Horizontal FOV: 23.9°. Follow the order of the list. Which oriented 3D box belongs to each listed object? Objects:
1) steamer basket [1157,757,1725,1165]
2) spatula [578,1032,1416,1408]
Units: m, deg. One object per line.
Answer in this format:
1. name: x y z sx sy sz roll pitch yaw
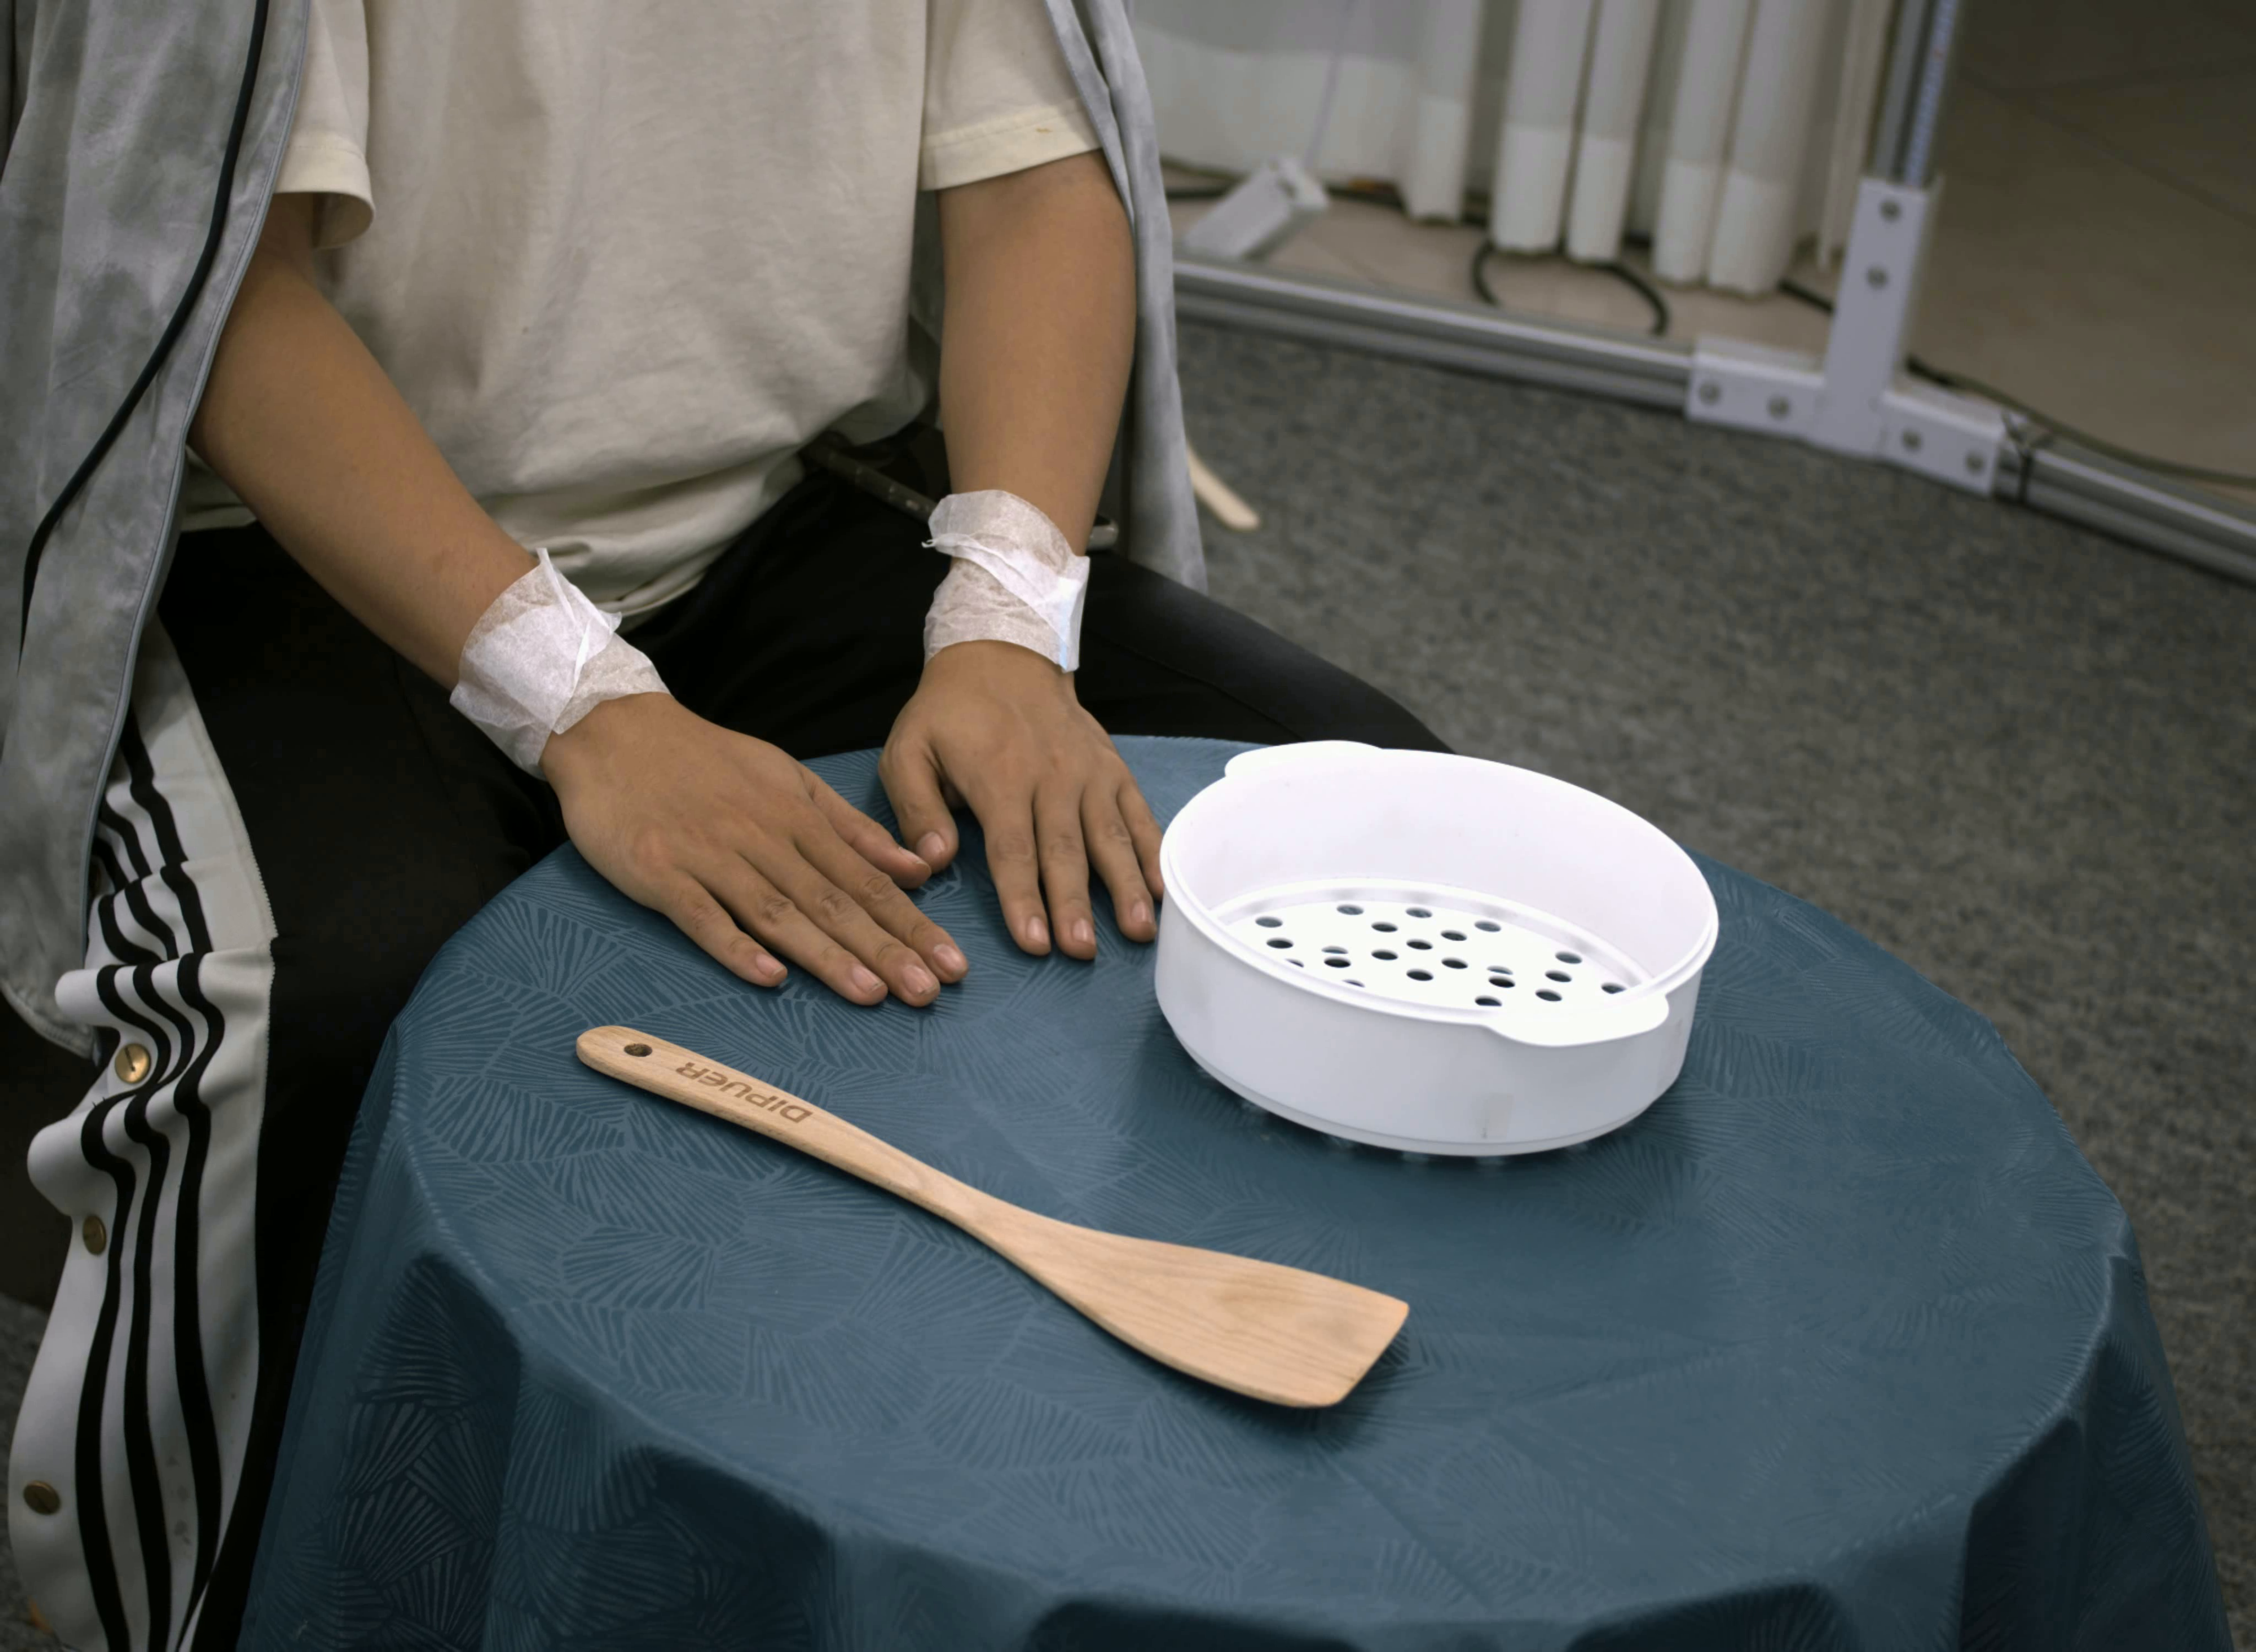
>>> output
1. steamer basket: 0.110 0.049 1.904 0.200 0.069 0.232 -6 28 -26
2. spatula: -0.051 0.124 1.773 0.329 0.016 0.080 21 29 27
